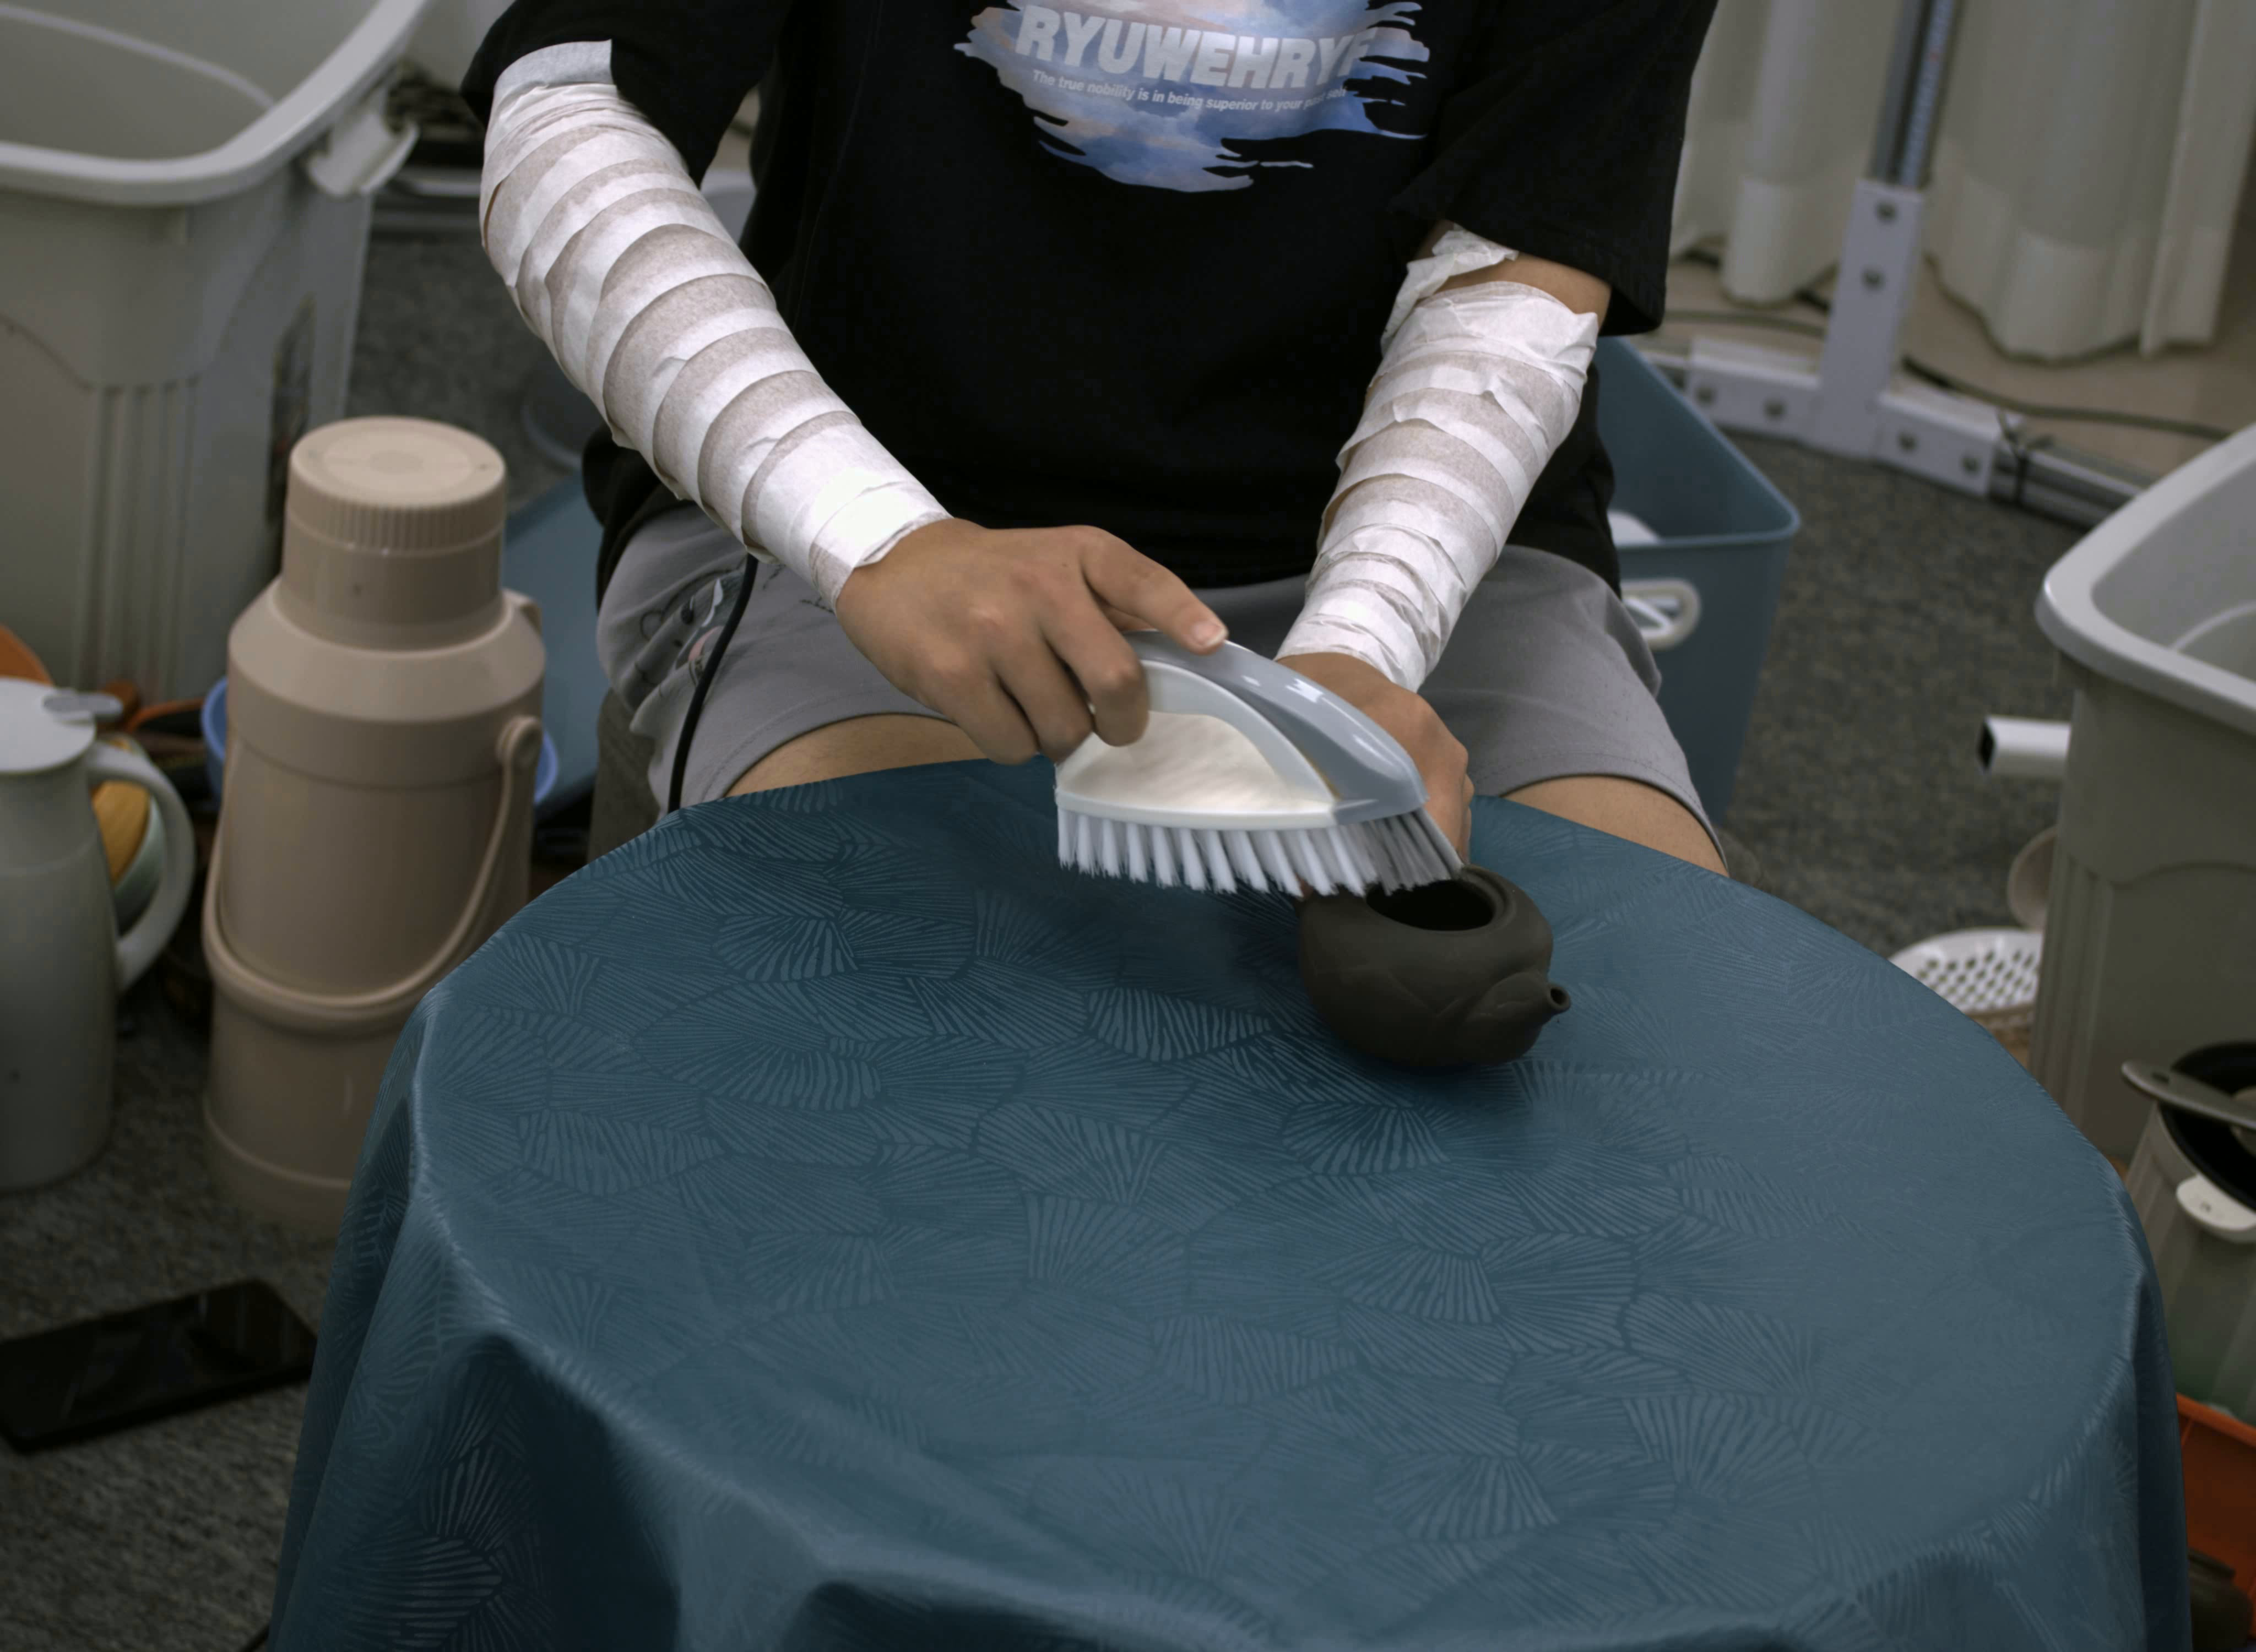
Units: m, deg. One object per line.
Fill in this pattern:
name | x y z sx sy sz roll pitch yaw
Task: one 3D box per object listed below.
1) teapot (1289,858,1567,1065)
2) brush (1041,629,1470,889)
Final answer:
teapot | 0.104 0.045 1.910 0.092 0.064 0.155 -13 34 -34
brush | 0.041 -0.027 1.909 0.176 0.093 0.061 9 42 41
